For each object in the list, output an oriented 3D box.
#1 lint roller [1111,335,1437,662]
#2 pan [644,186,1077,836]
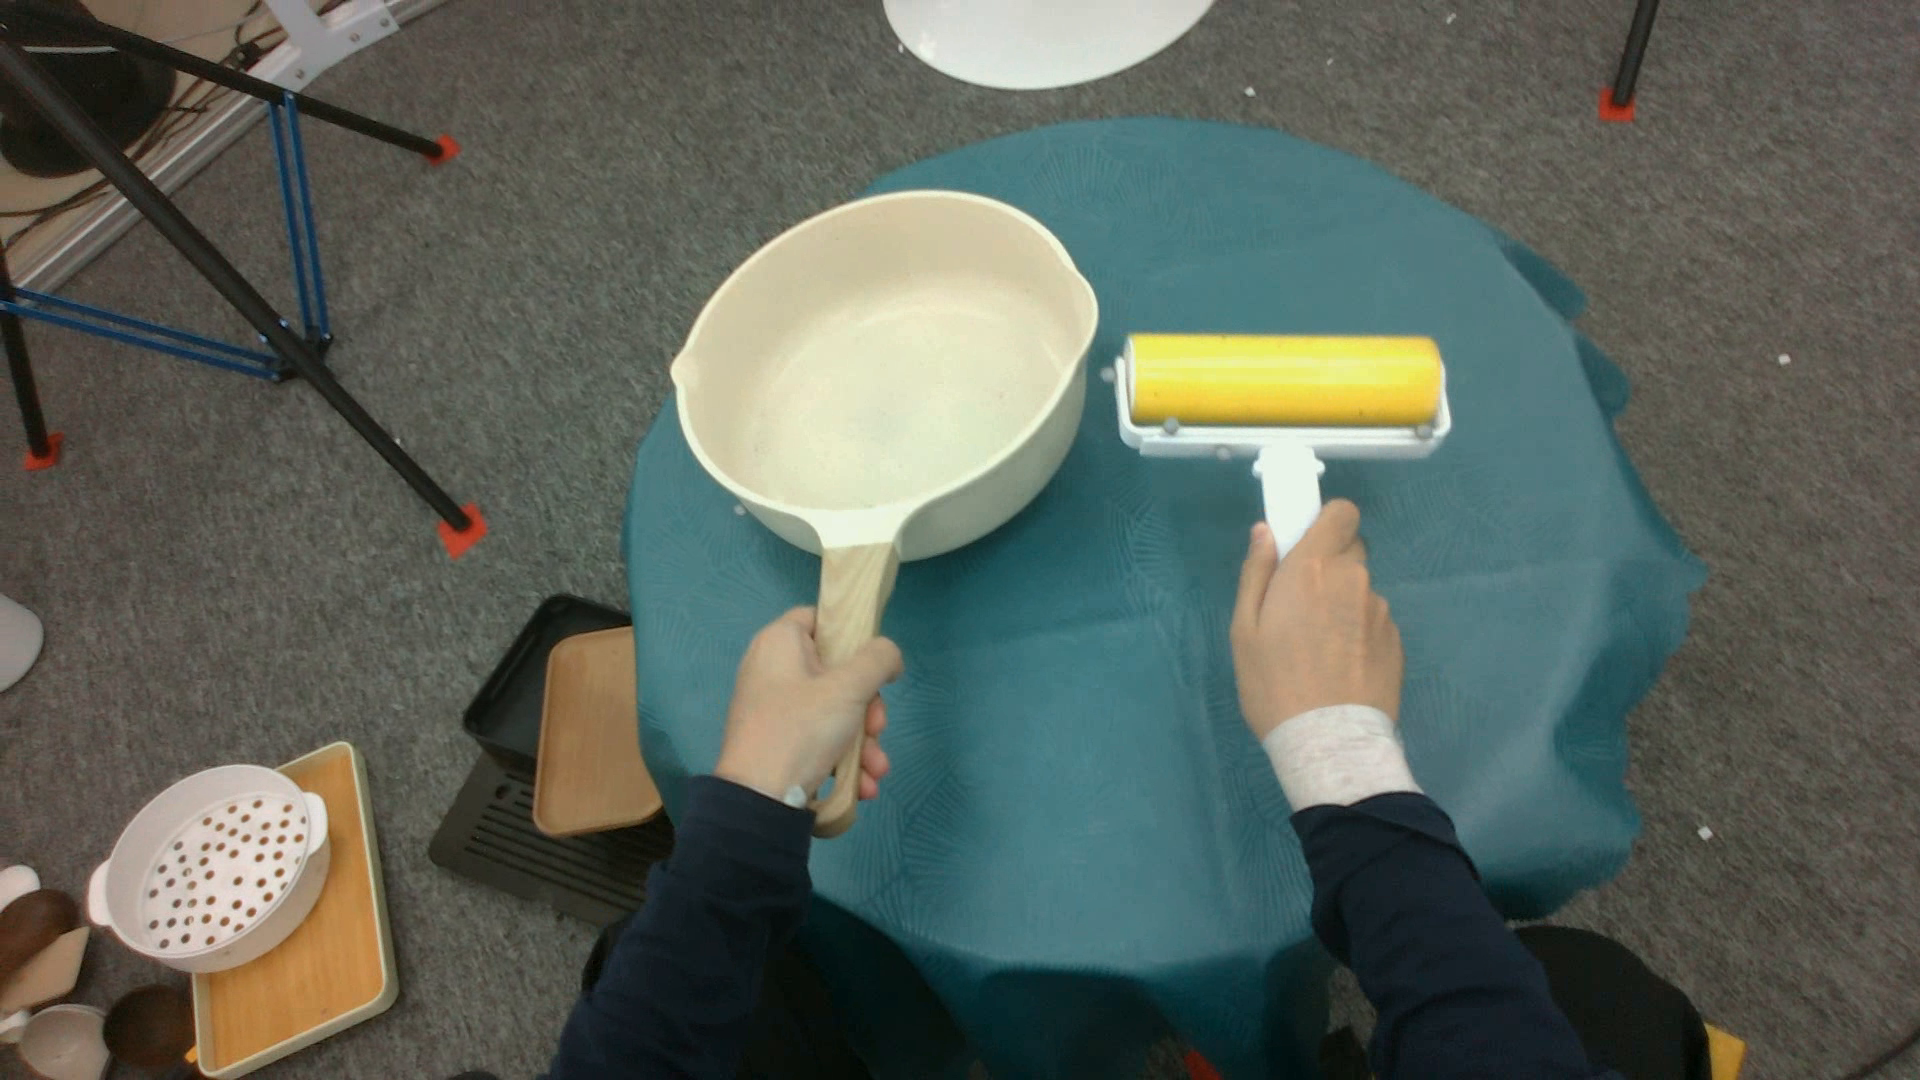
[{"bbox_3d":[0.170,-0.030,0.713,0.174,0.051,0.193,0,51,1],"label":"lint roller"},{"bbox_3d":[-0.058,-0.026,0.787,0.263,0.101,0.437,-5,56,9],"label":"pan"}]
